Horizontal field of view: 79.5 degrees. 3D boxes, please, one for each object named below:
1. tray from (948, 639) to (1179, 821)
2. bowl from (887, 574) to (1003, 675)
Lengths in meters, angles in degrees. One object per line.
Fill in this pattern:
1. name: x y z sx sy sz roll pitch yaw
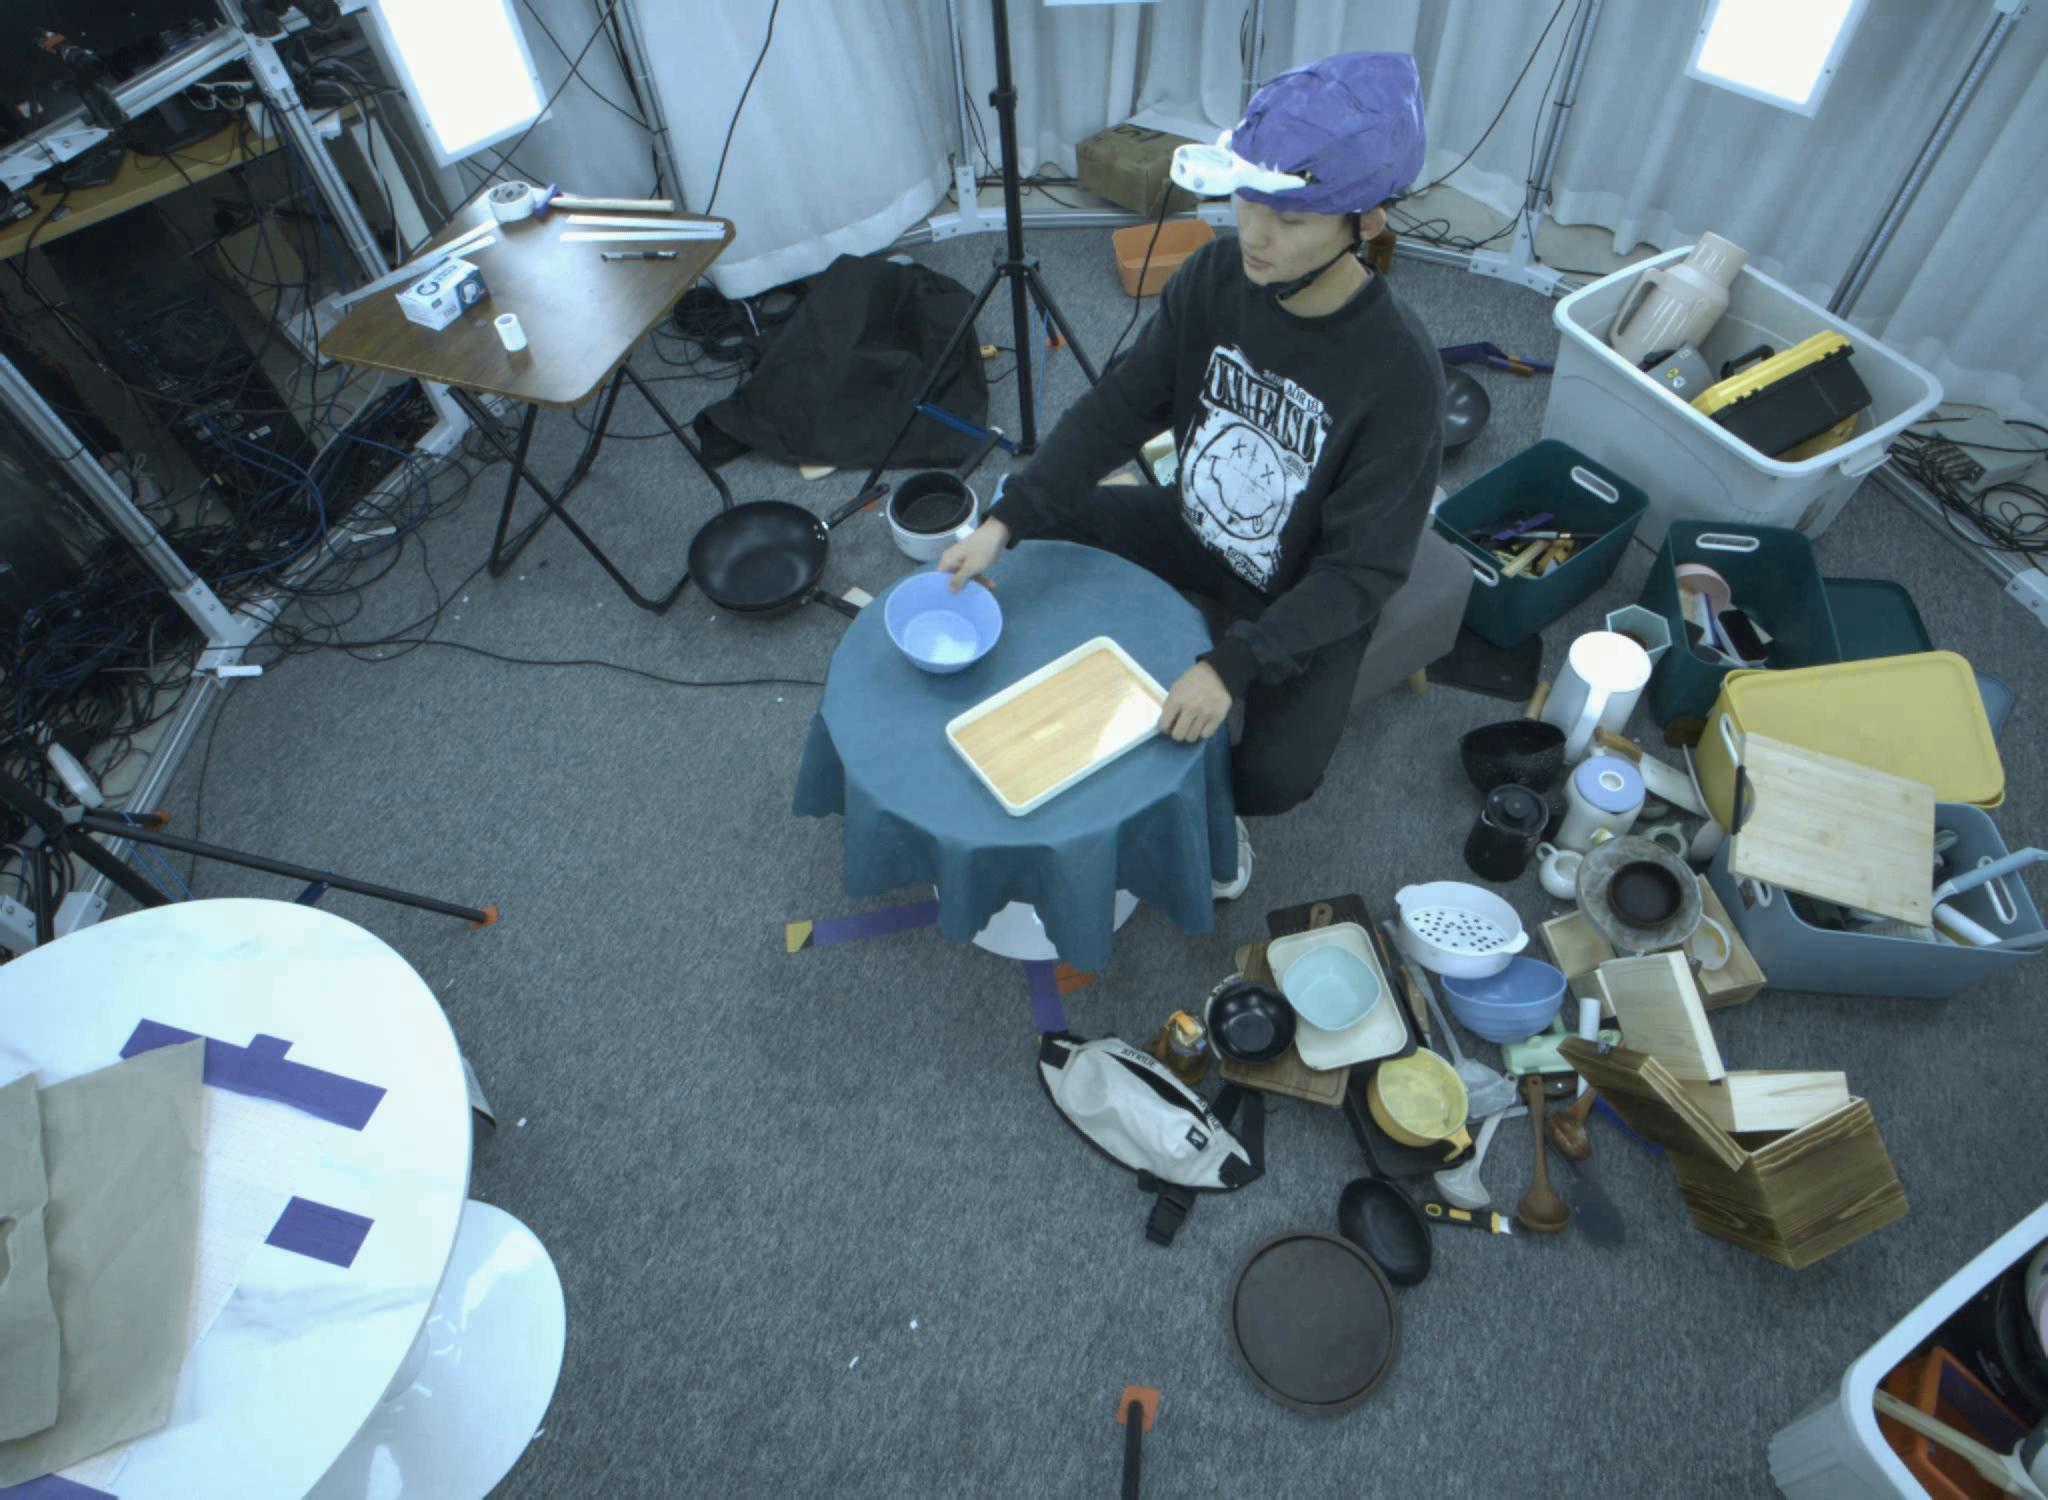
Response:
1. tray: 0.059 -0.035 1.803 0.302 0.028 0.188 -31 60 -18
2. bowl: -0.123 -0.181 1.872 0.177 0.070 0.174 5 59 -7
